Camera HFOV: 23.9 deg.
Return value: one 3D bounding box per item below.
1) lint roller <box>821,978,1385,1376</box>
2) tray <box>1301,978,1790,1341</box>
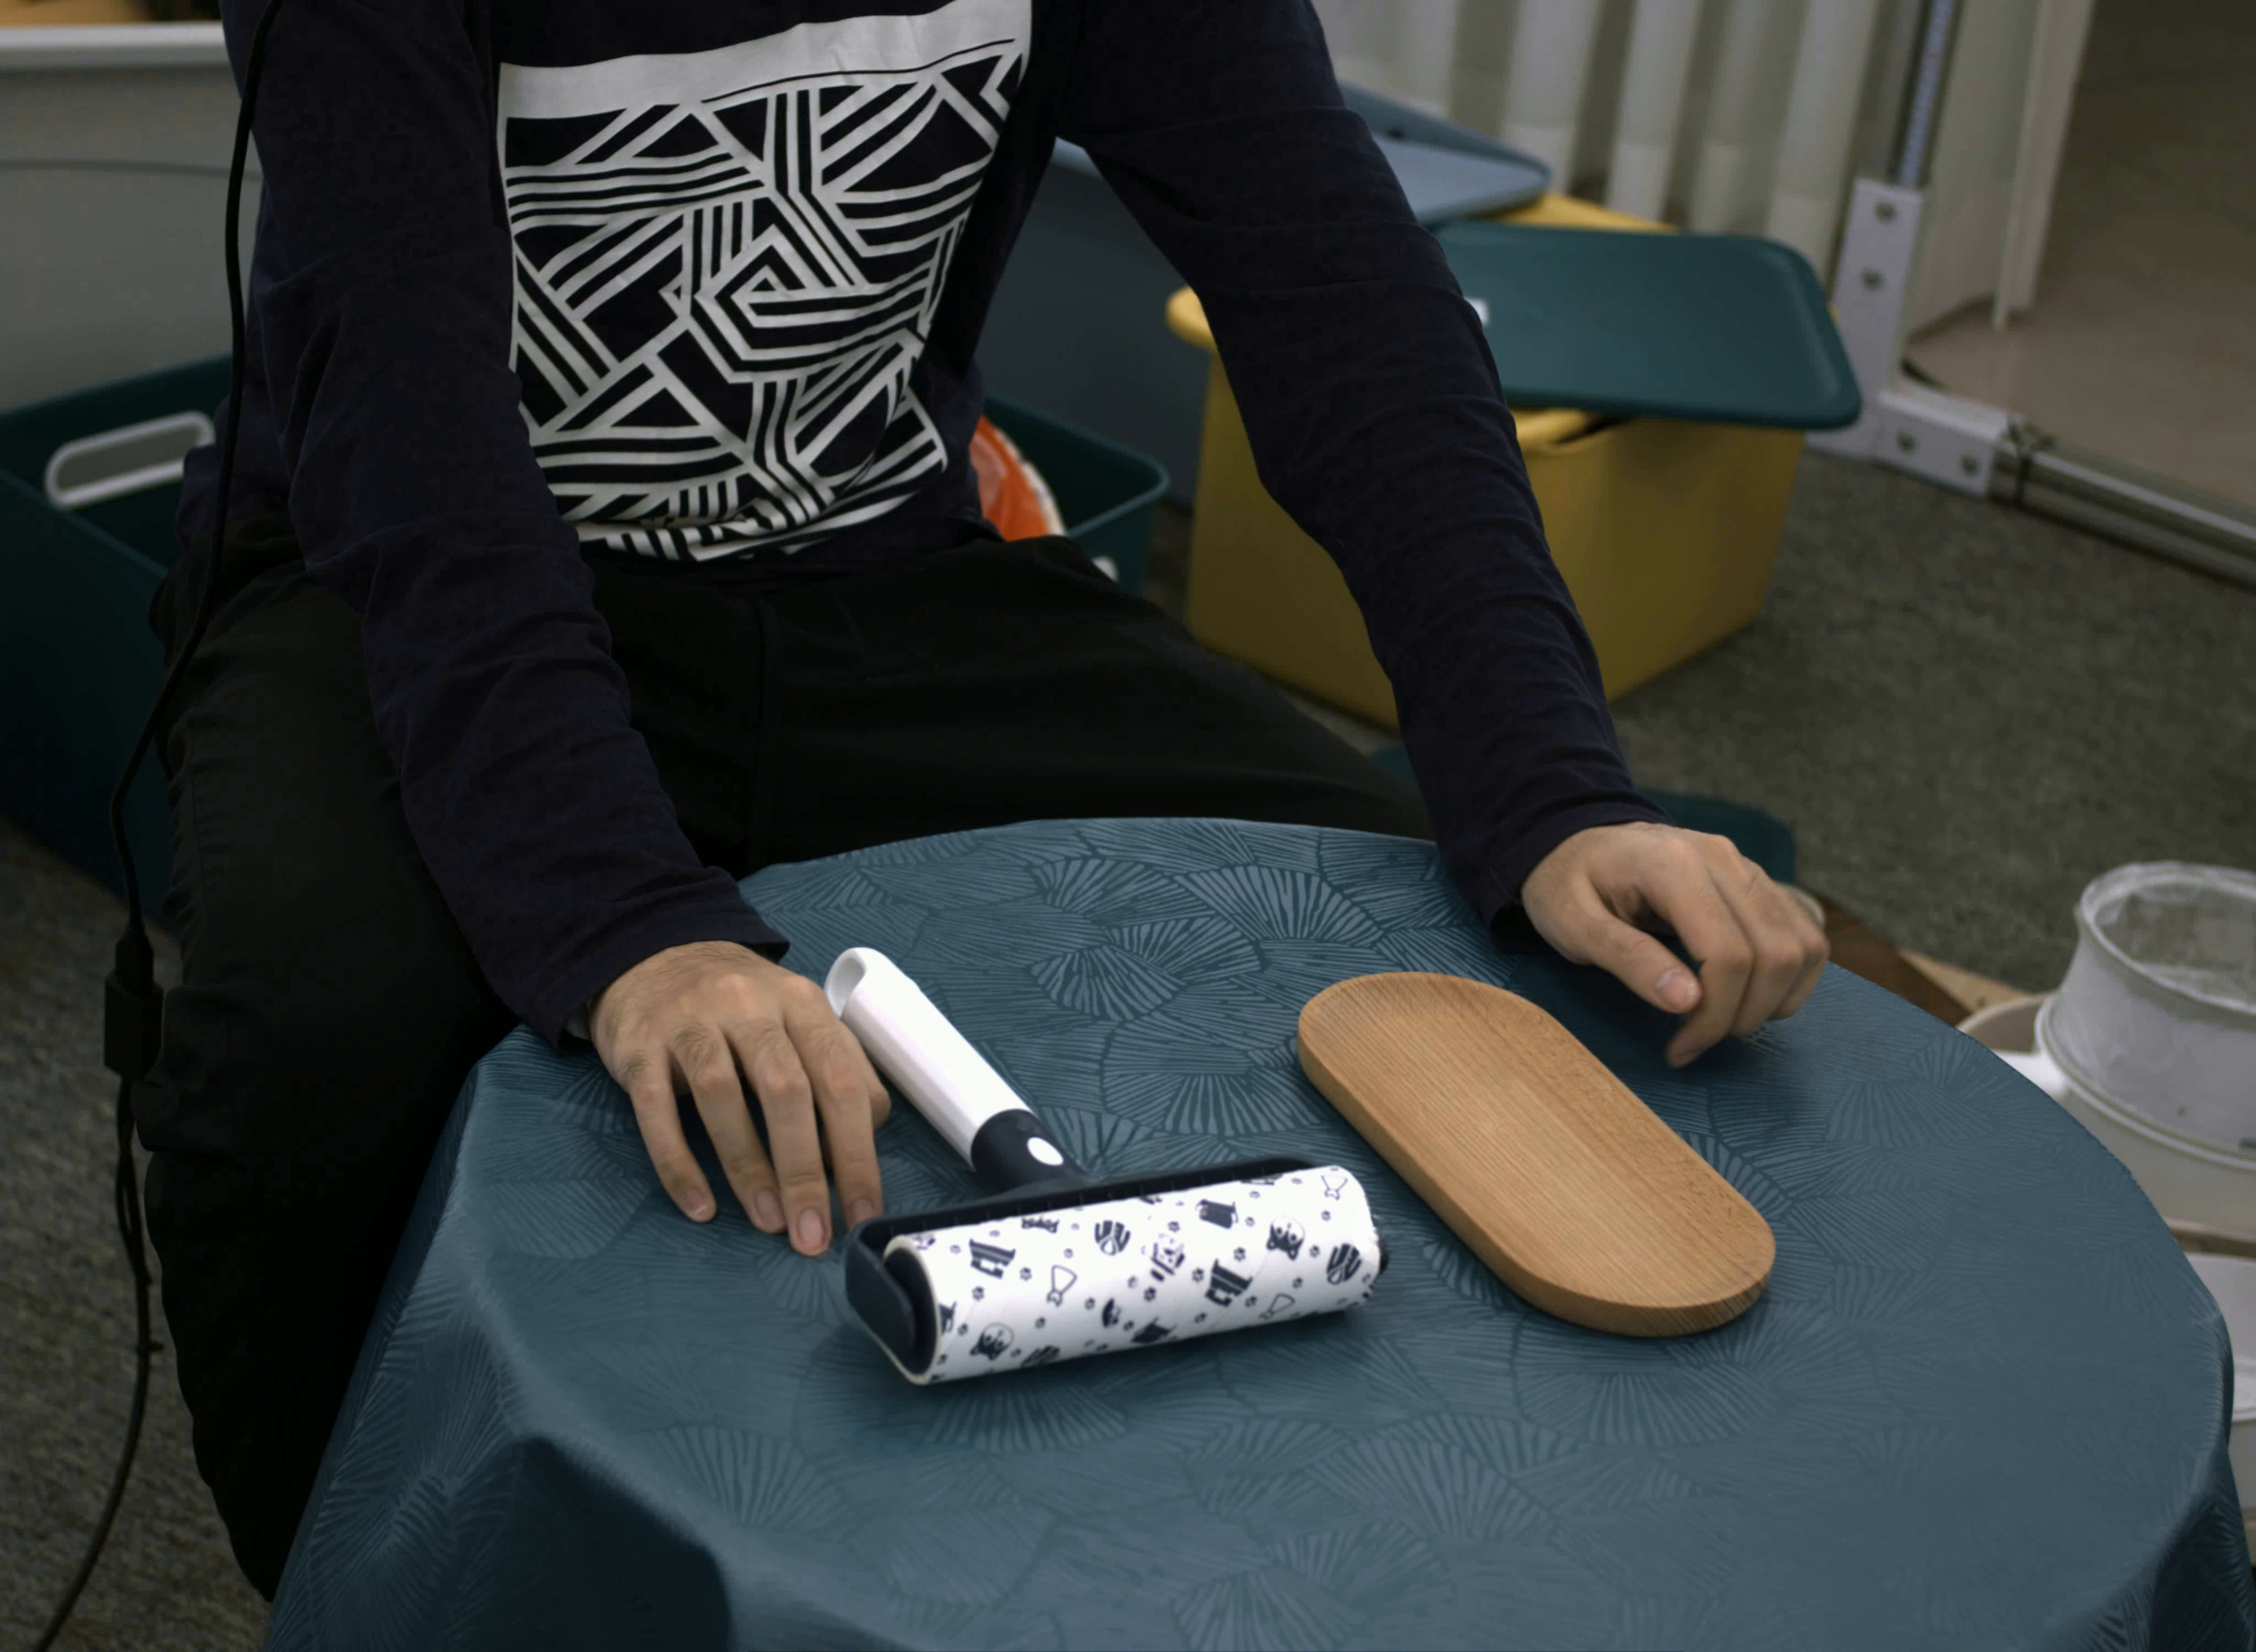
[{"bbox_3d":[-0.047,0.103,1.794,0.175,0.050,0.249,-8,27,-26],"label":"lint roller"},{"bbox_3d":[0.141,0.113,1.841,0.101,0.020,0.233,-10,32,-26],"label":"tray"}]
